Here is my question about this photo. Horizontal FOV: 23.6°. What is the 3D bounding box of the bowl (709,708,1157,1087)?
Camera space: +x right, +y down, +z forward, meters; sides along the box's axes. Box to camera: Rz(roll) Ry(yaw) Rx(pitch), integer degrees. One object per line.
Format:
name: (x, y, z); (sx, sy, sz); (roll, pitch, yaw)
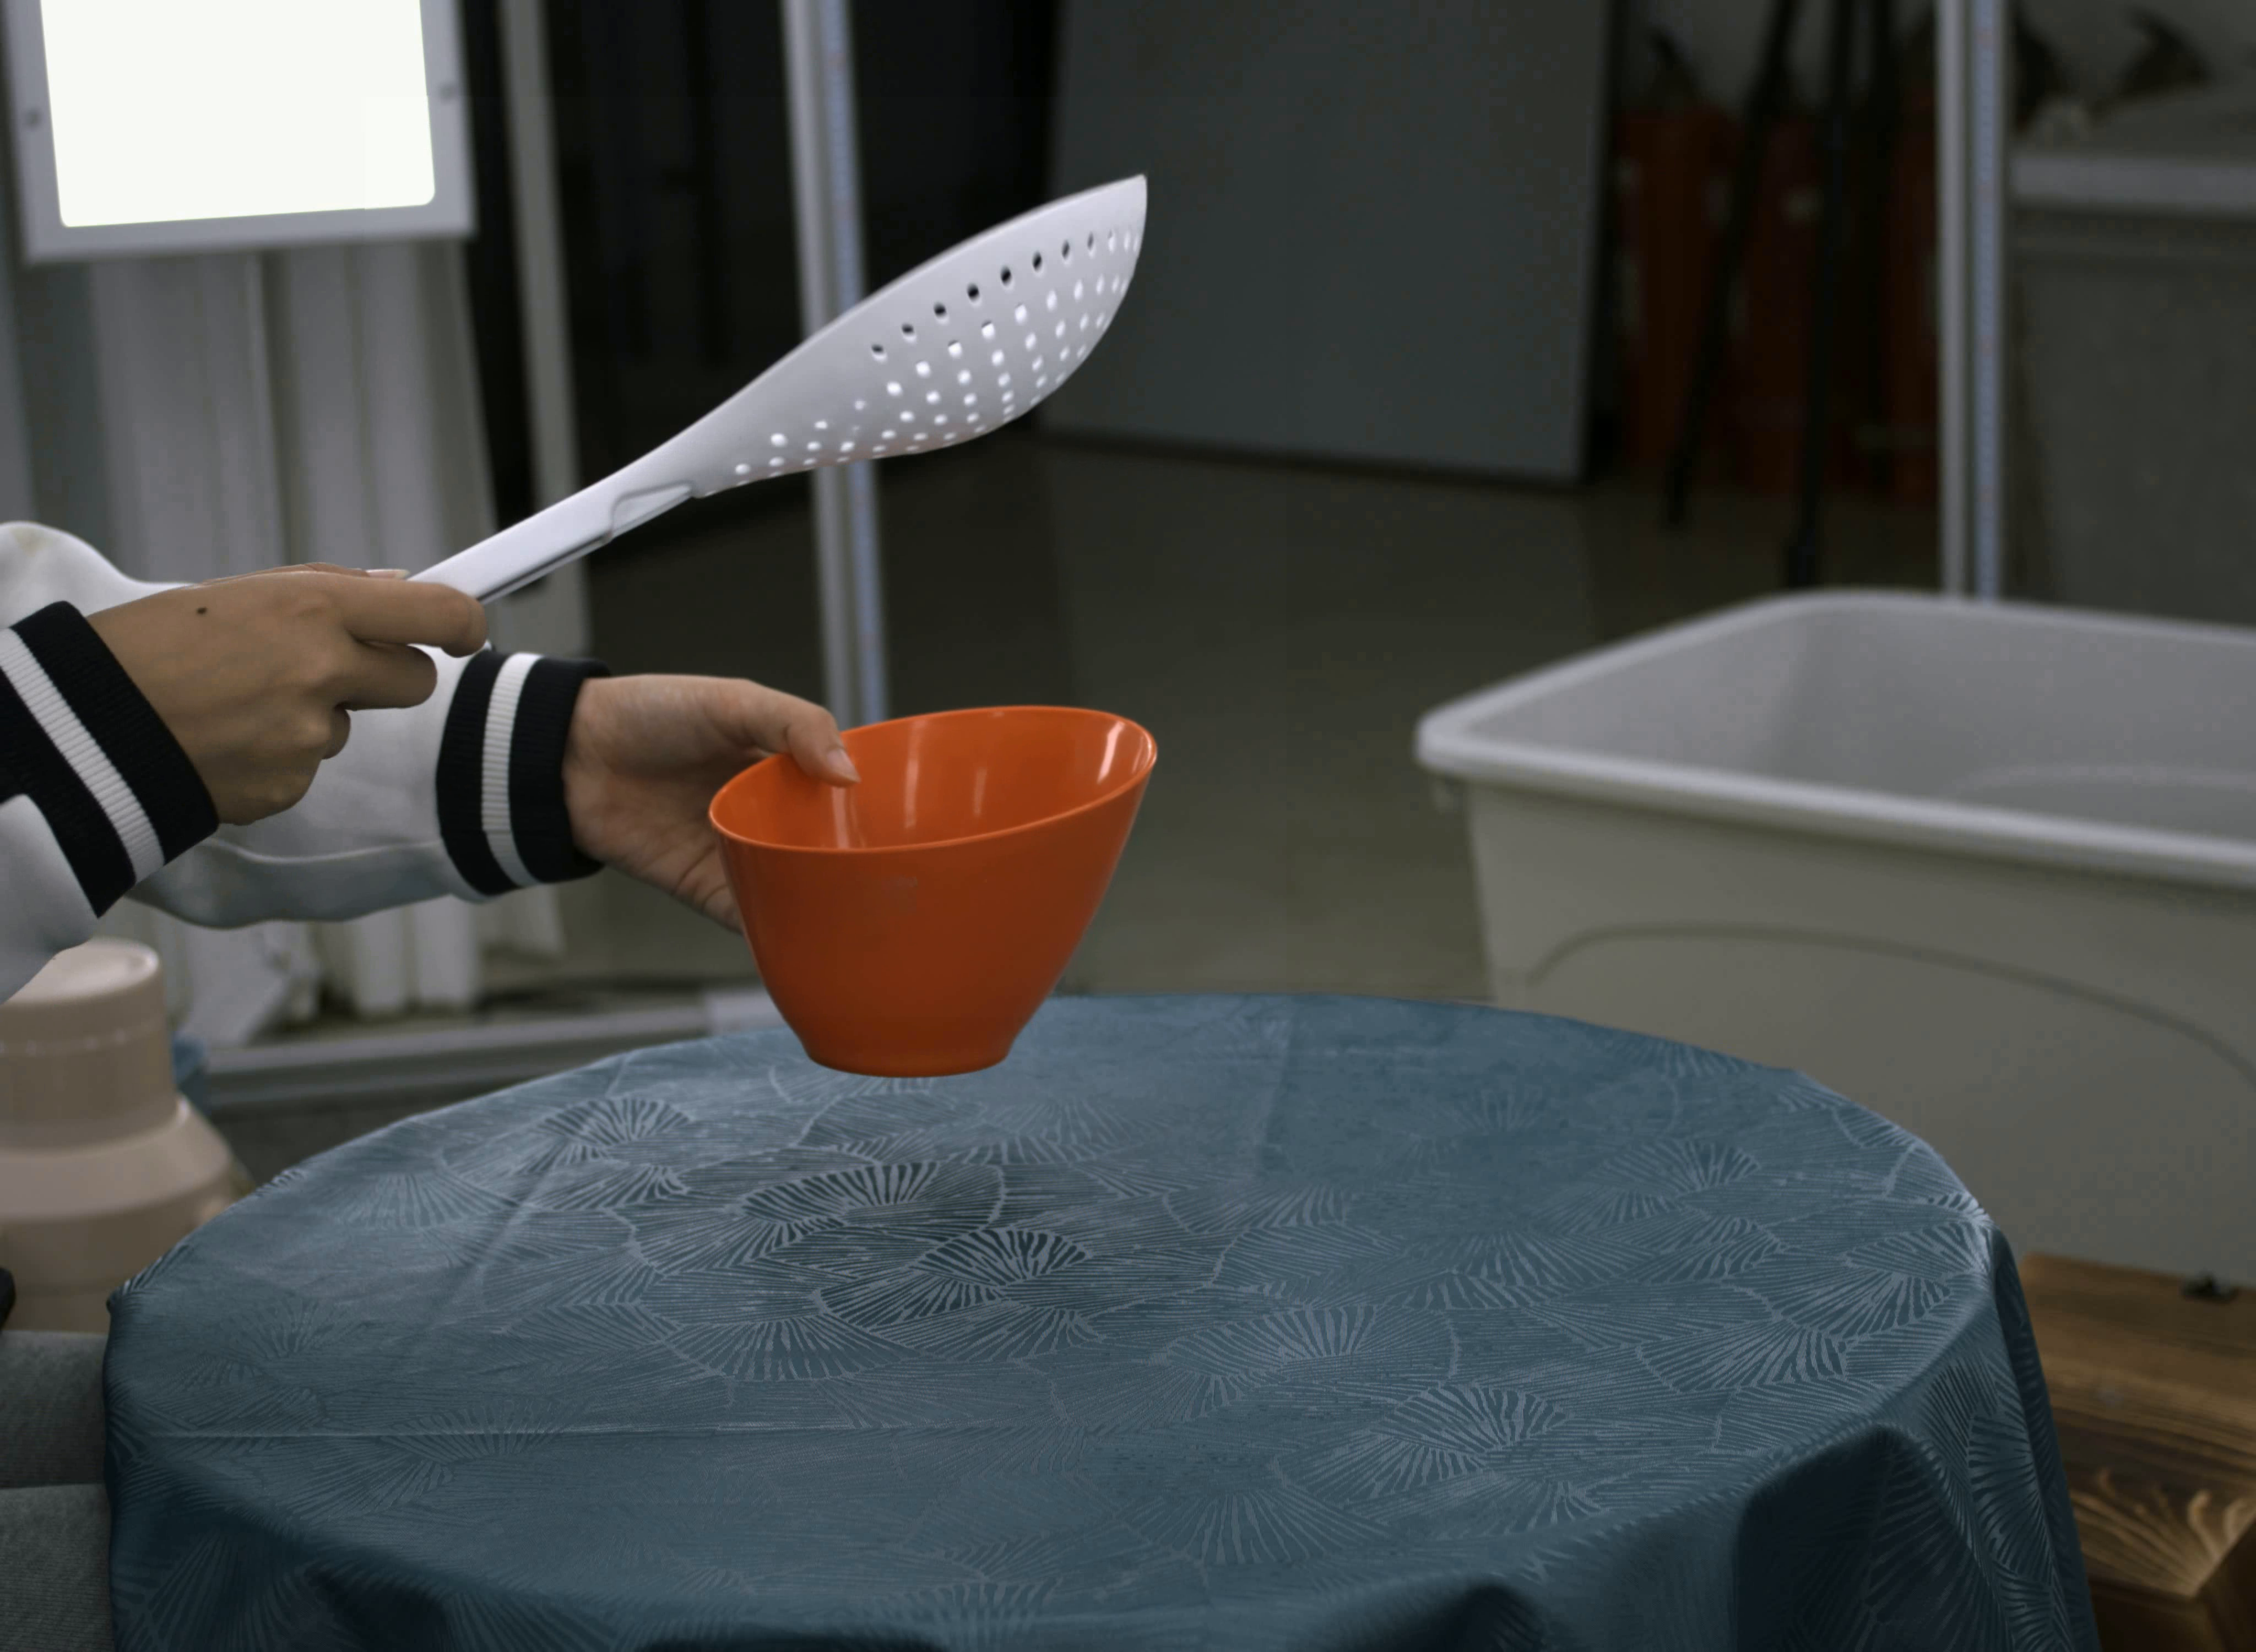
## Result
bowl: (-0.063, 0.025, 1.760); (0.146, 0.106, 0.148); (0, 13, -1)

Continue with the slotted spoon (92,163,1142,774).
slotted spoon: (-0.145, -0.103, 1.588); (0.346, 0.046, 0.136); (-24, -5, -5)
